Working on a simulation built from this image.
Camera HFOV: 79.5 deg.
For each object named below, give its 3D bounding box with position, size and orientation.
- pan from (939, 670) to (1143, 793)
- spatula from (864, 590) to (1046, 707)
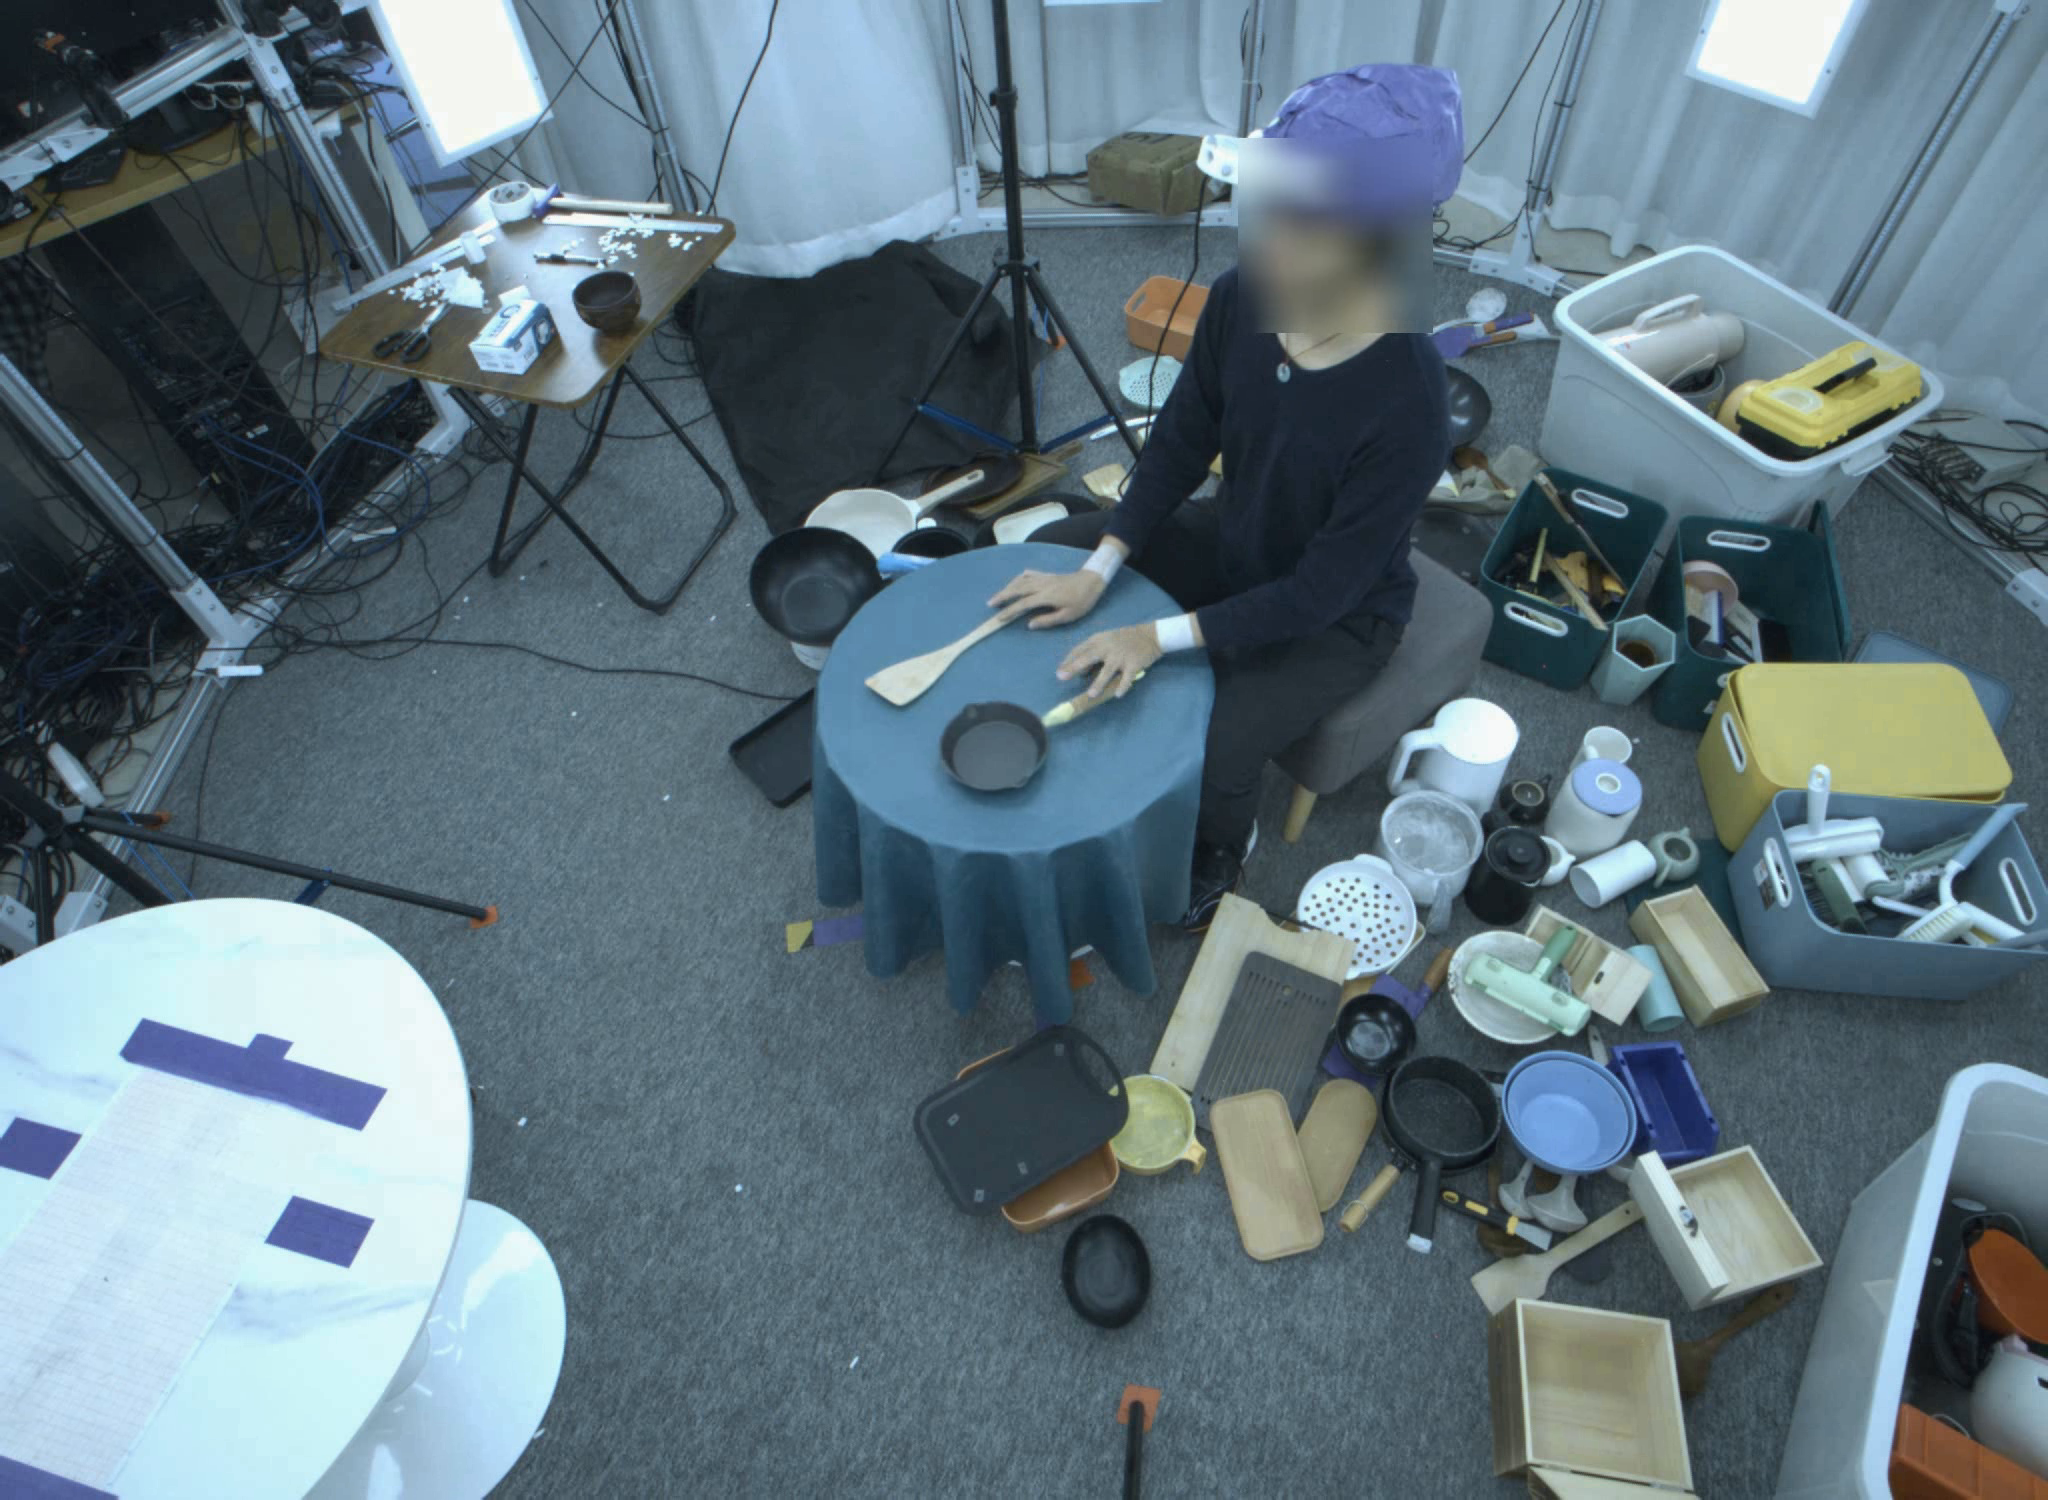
[{"bbox_3d":[0.033,-0.038,1.782,0.326,0.050,0.166,-25,57,-13],"label":"pan"},{"bbox_3d":[-0.094,-0.165,1.897,0.330,0.017,0.078,-35,62,-20],"label":"spatula"}]
